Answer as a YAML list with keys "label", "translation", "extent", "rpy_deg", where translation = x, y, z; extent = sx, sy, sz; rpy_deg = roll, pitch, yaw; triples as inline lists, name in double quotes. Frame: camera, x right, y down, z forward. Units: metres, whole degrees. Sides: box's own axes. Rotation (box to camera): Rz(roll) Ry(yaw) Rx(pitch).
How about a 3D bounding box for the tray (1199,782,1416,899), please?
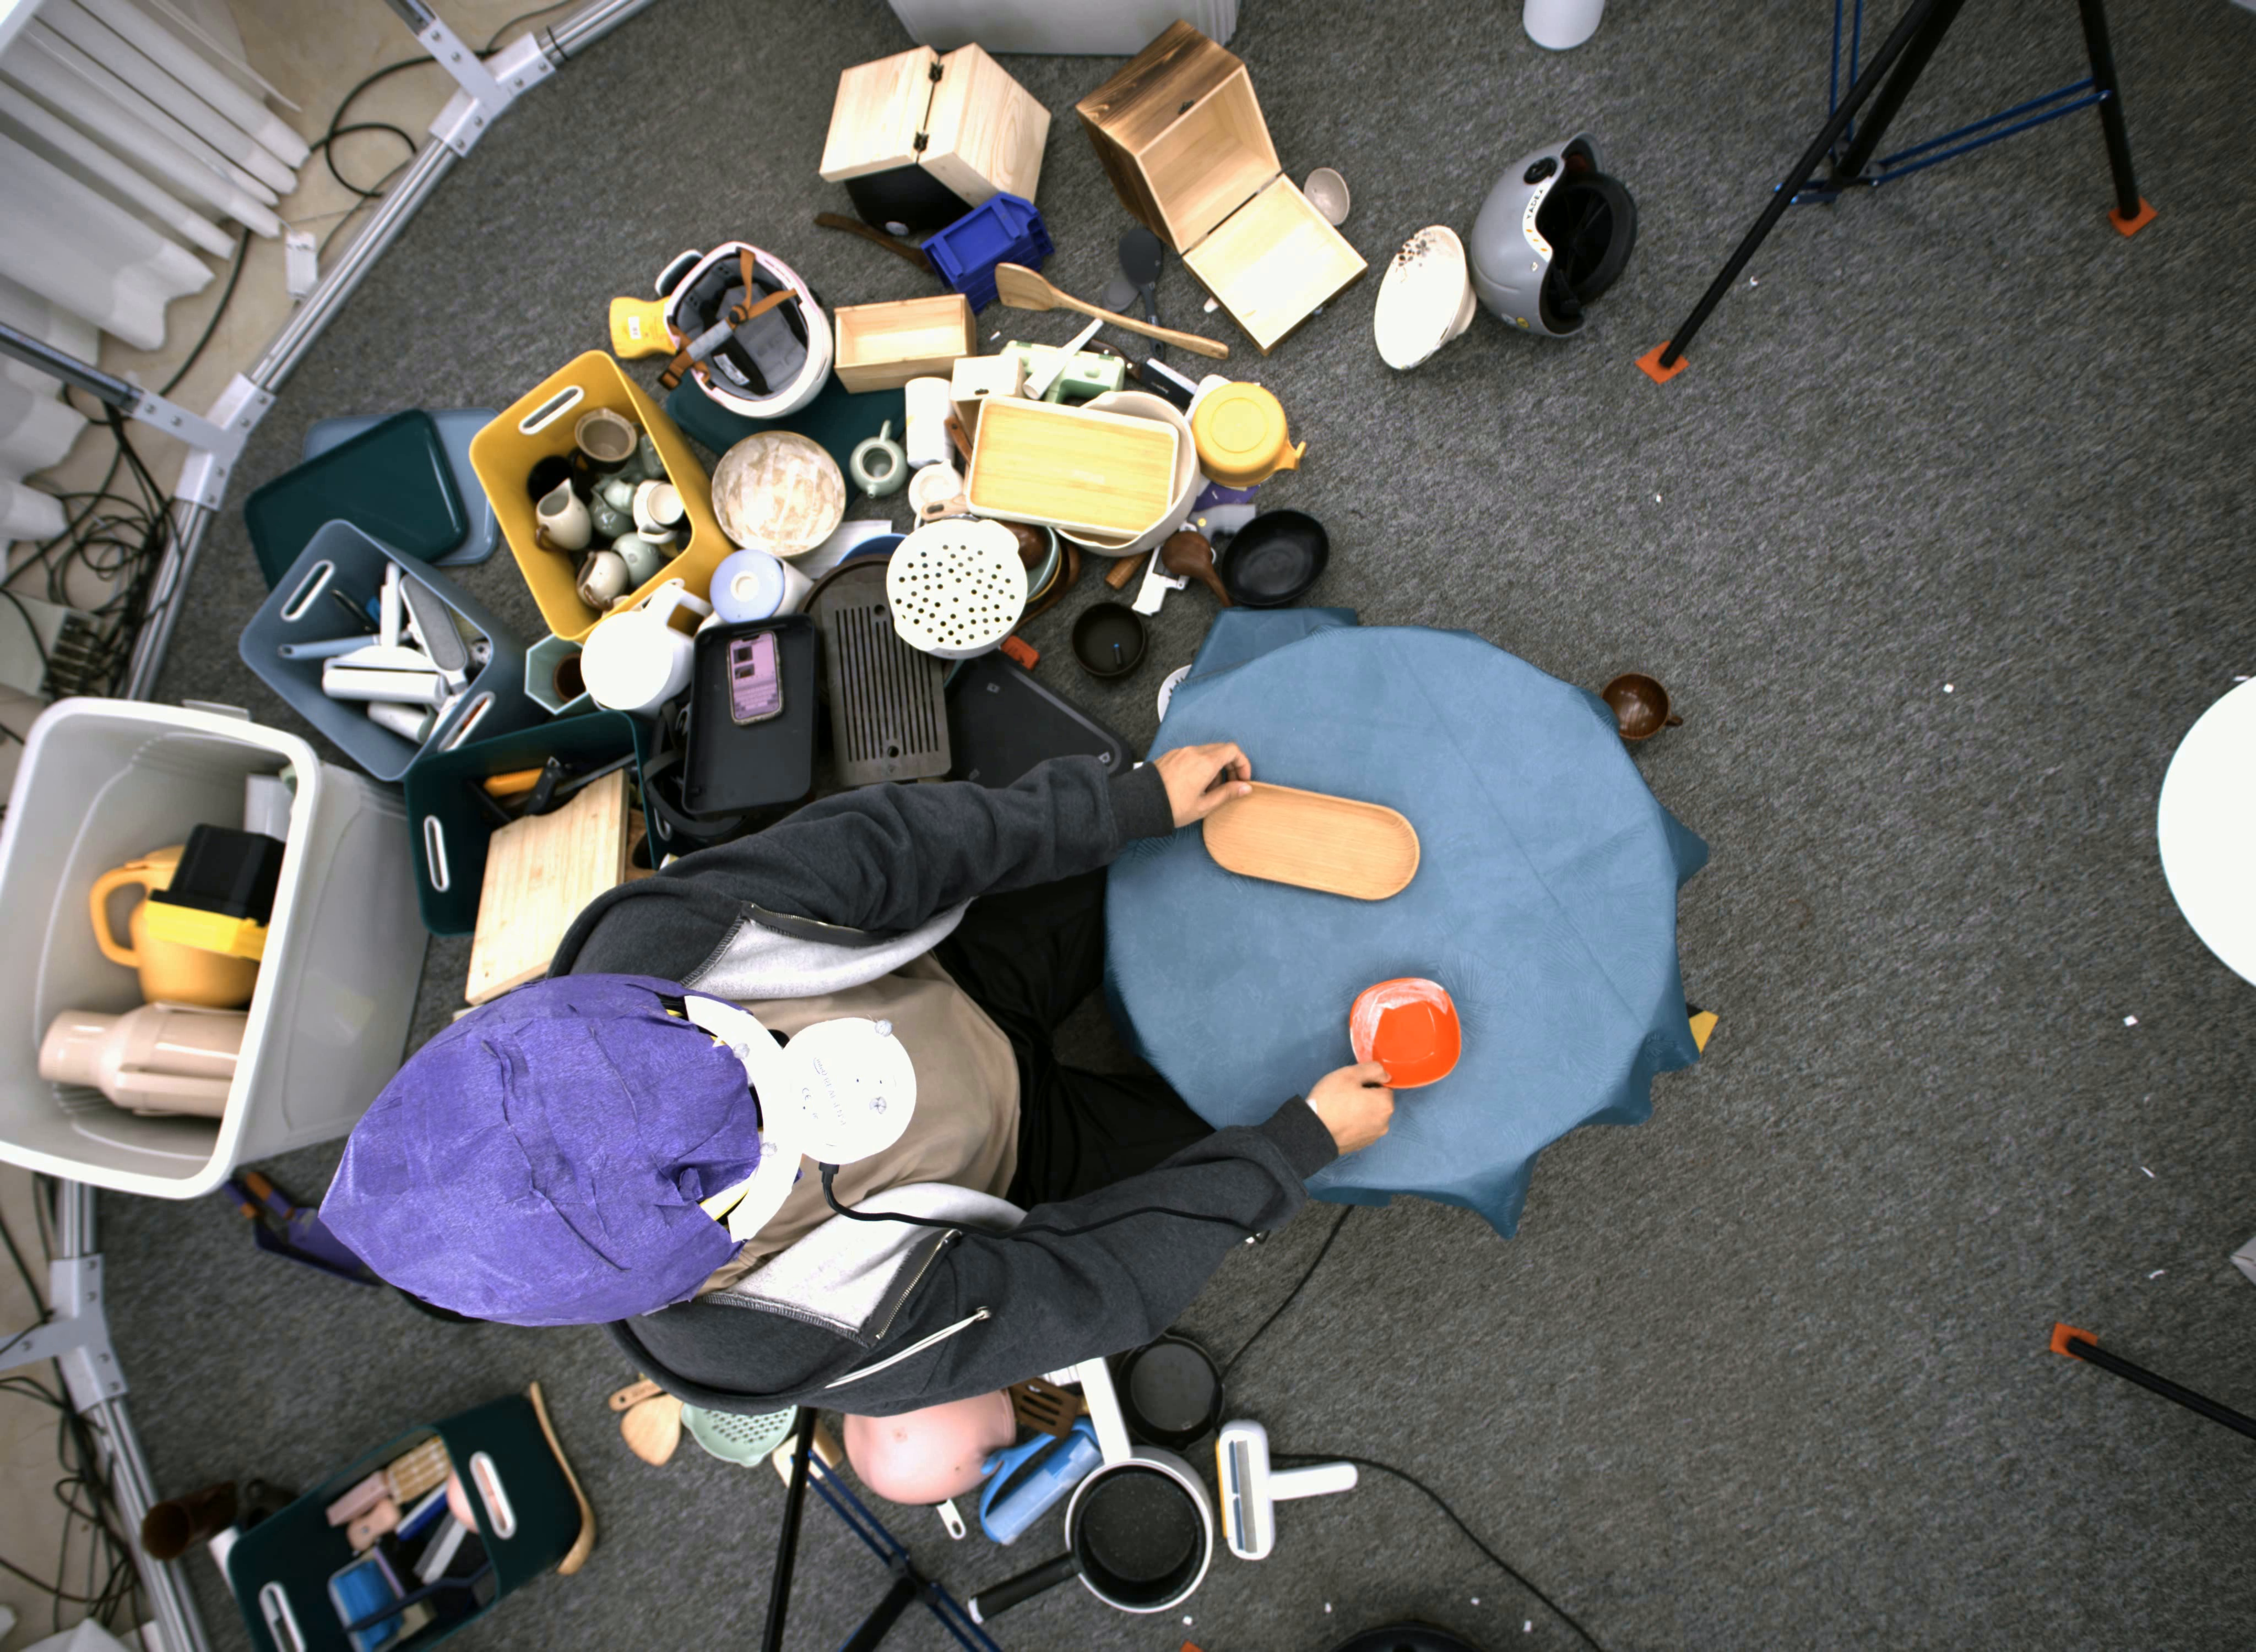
- label: "tray"
  translation: [0.189, 0.015, 1.466]
  extent: [0.231, 0.020, 0.101]
  rpy_deg: [10, 91, 11]

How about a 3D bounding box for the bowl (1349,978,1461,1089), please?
- label: "bowl"
  translation: [0.284, 0.210, 1.422]
  extent: [0.119, 0.051, 0.118]
  rpy_deg: [-1, 87, 9]
